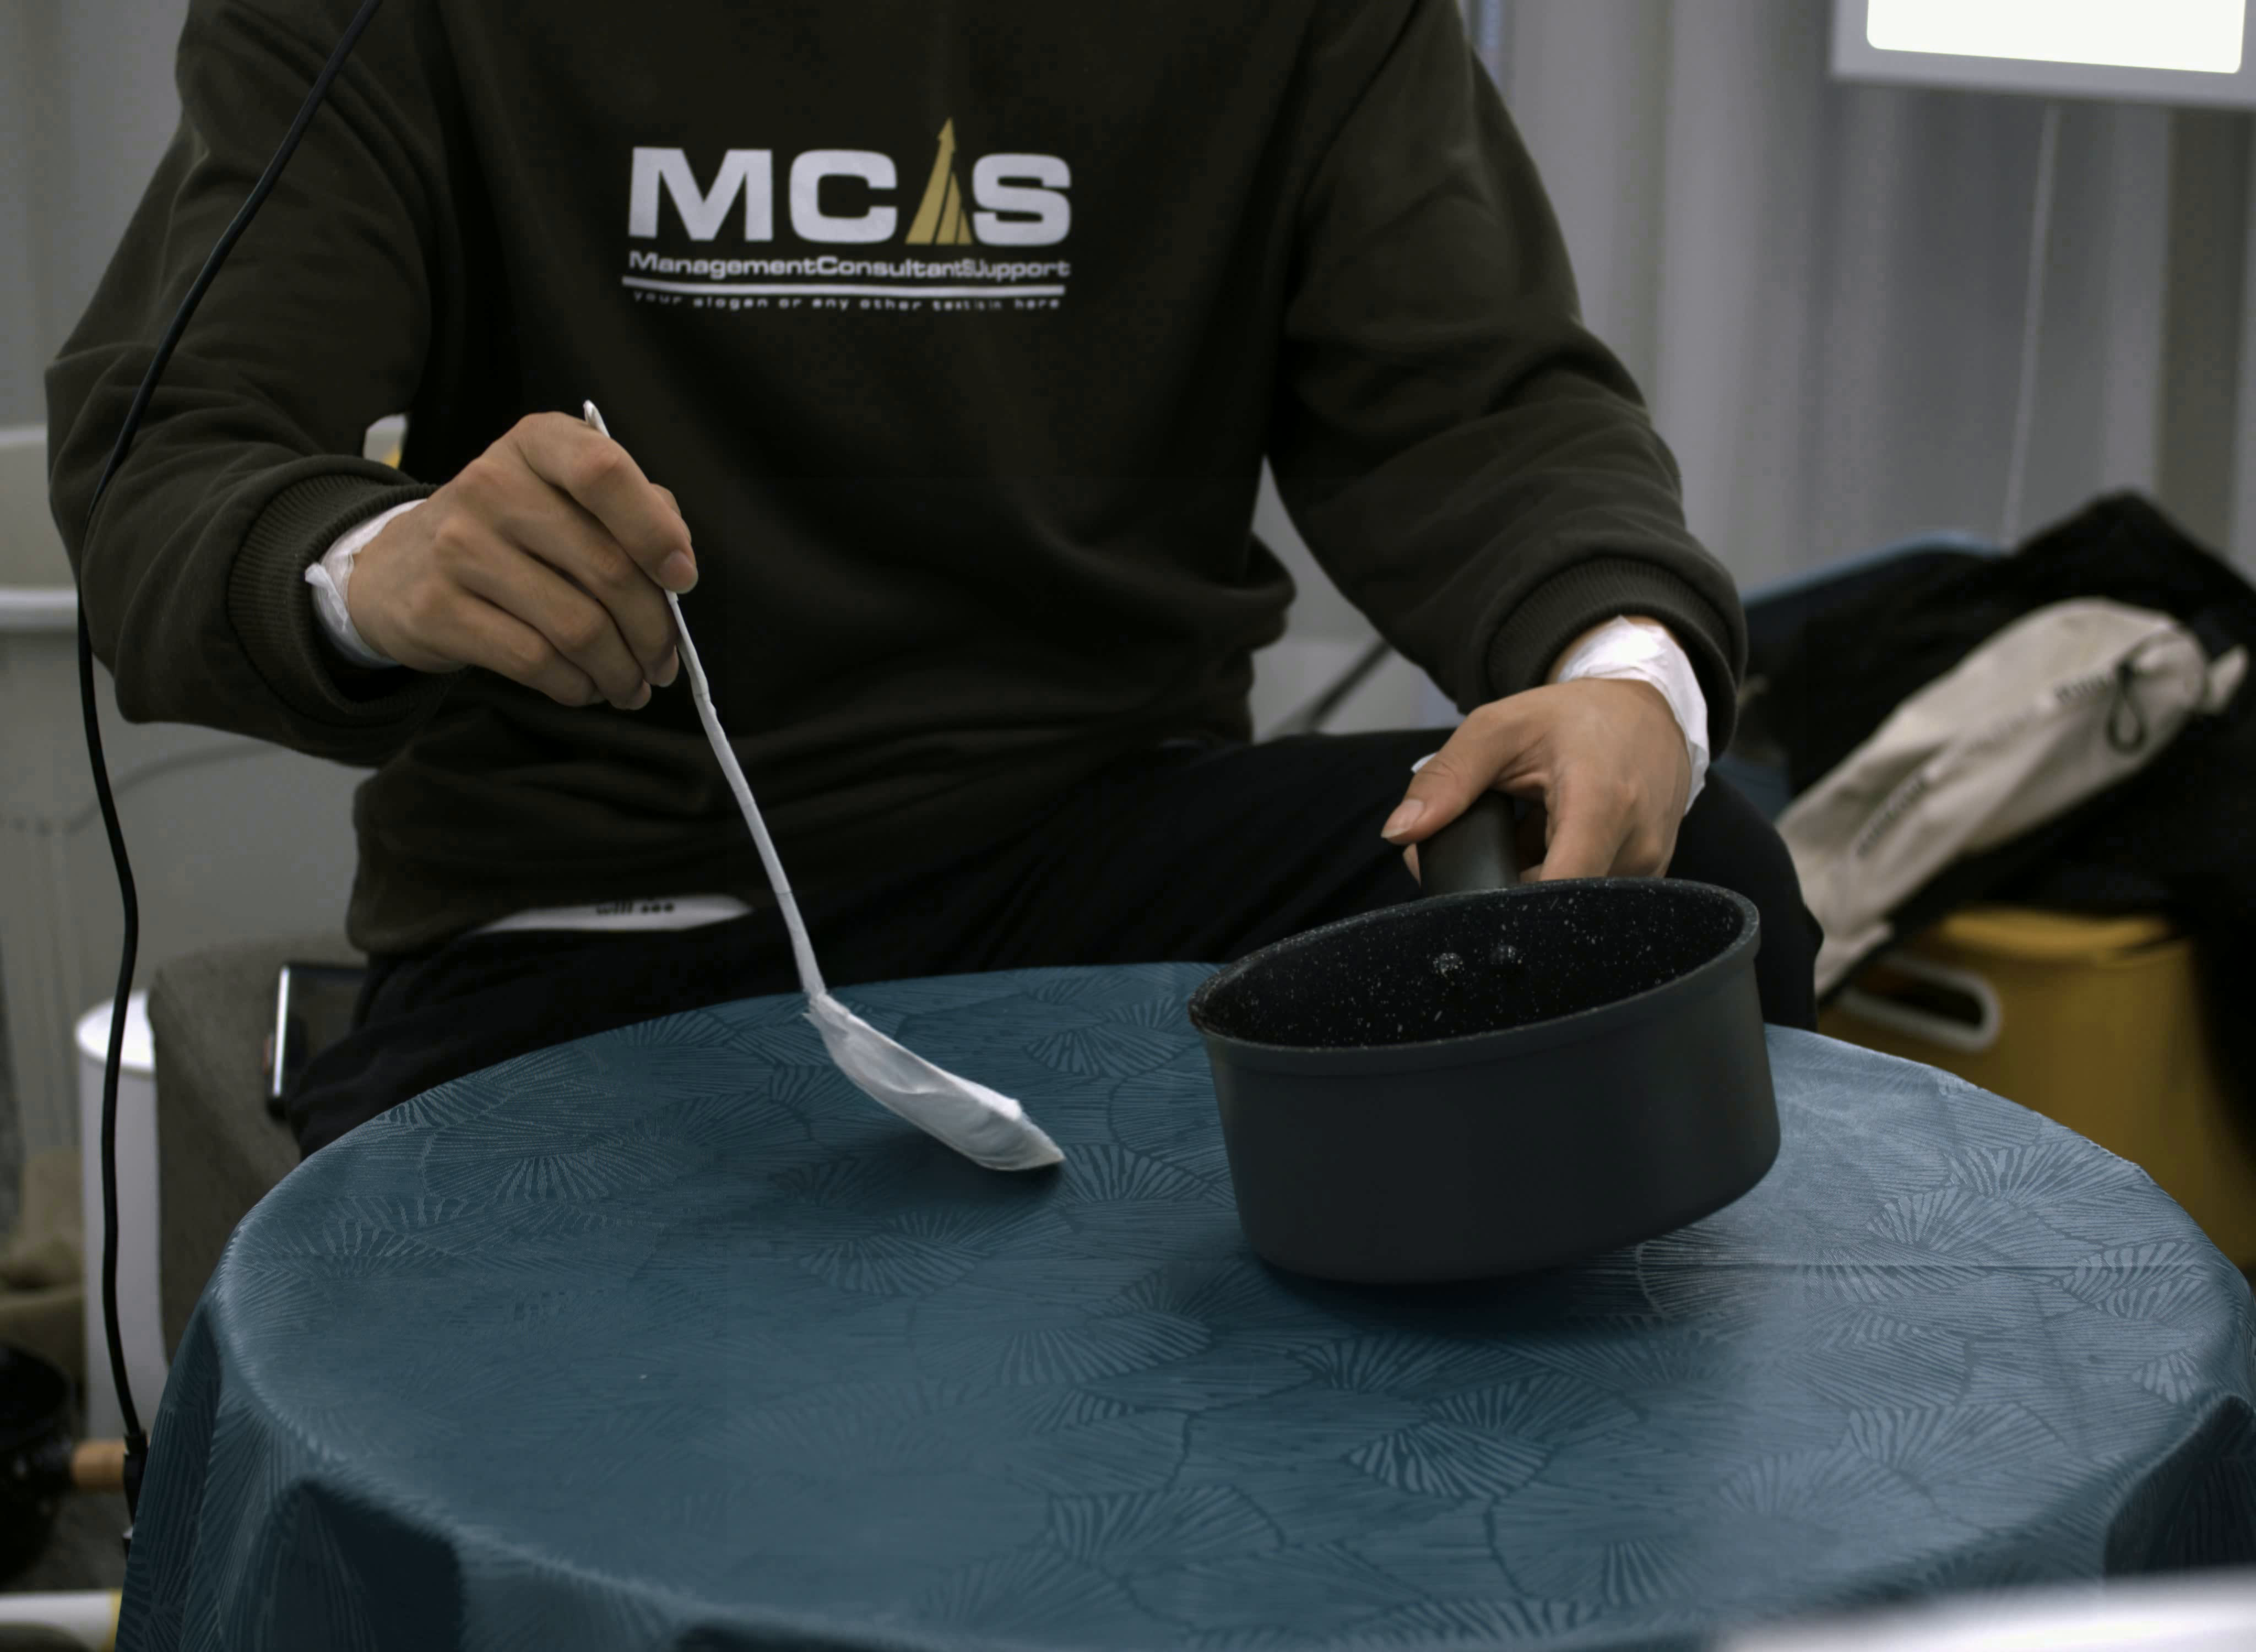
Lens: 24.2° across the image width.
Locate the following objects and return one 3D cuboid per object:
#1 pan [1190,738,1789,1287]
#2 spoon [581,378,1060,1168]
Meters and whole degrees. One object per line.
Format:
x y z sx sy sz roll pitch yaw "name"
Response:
0.115 0.053 1.633 0.171 0.087 0.327 -8 14 7 "pan"
-0.095 -0.015 1.615 0.059 0.279 0.100 -23 12 -16 "spoon"
